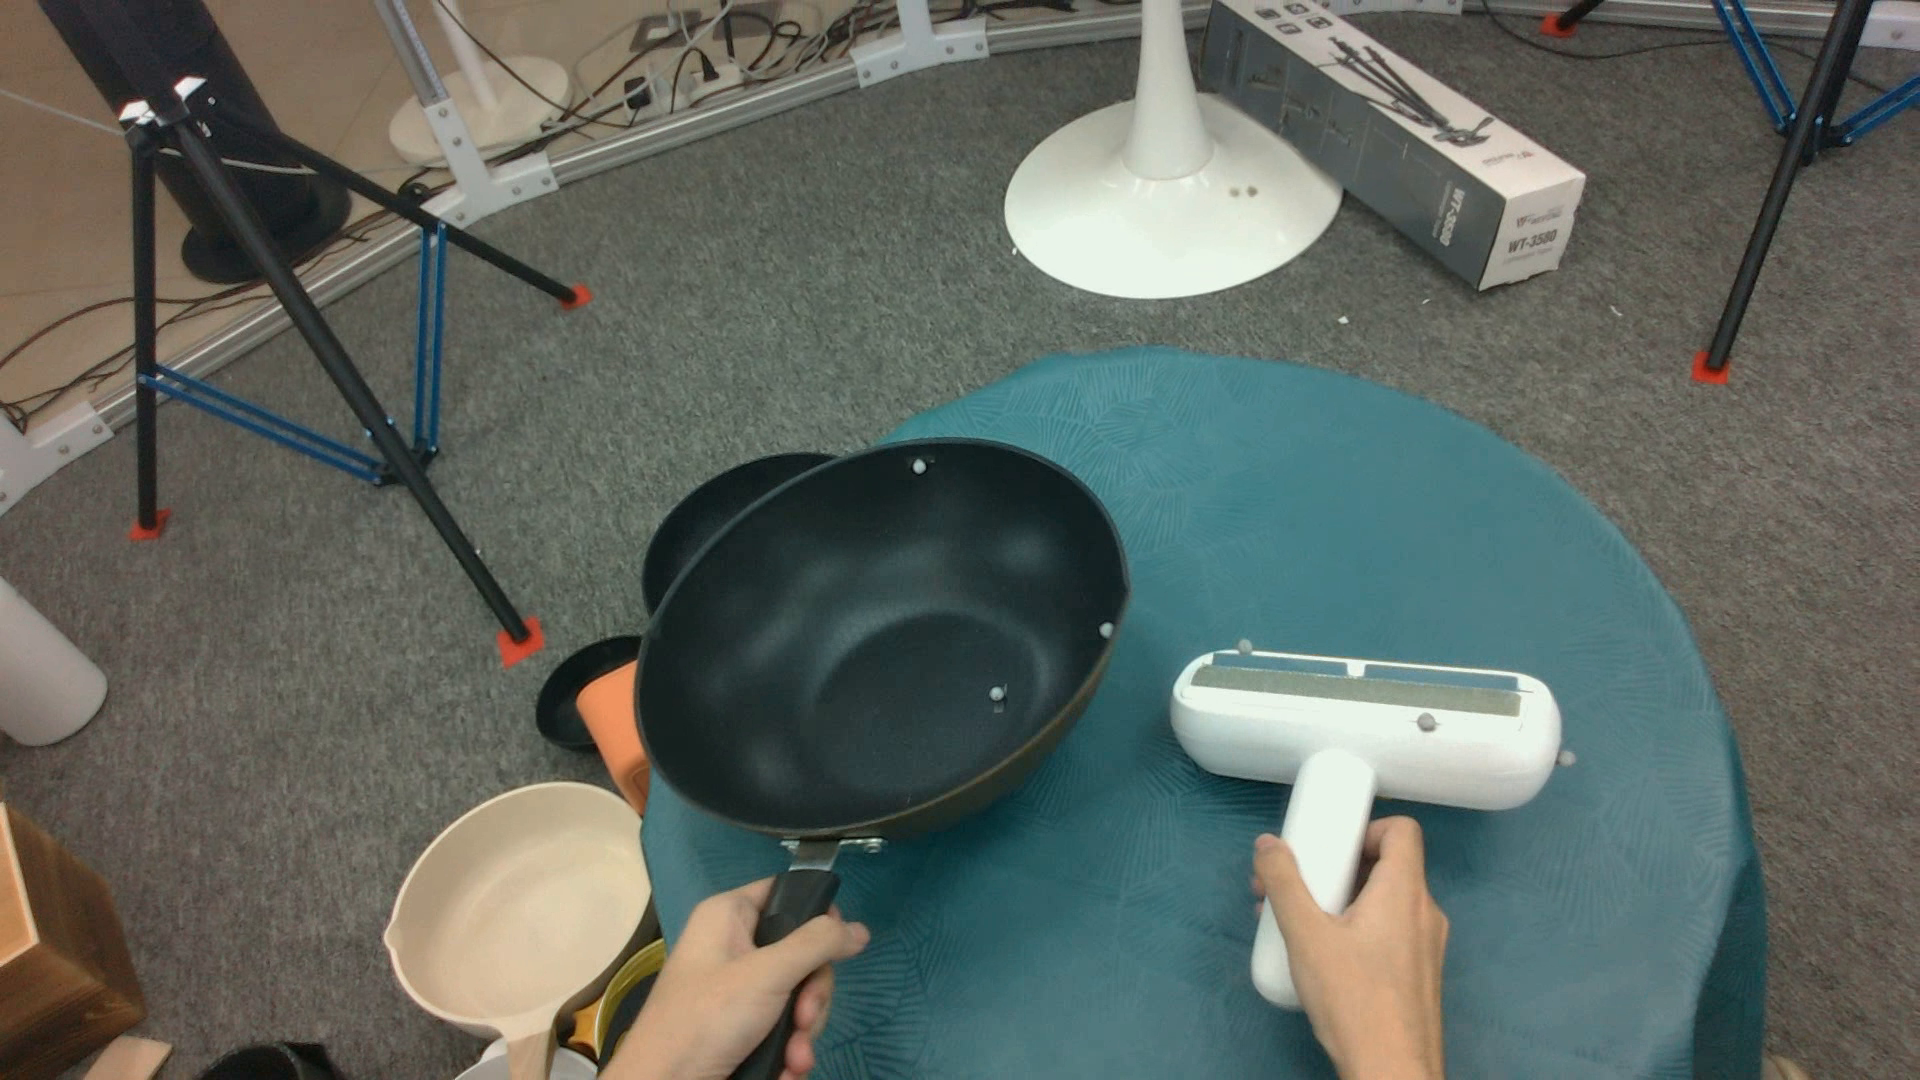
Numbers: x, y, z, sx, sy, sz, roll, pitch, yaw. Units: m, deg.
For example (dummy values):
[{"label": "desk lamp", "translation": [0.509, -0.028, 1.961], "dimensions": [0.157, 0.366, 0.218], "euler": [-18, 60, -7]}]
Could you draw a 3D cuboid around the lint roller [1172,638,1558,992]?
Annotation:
[{"label": "lint roller", "translation": [0.176, 0.128, 0.673], "dimensions": [0.192, 0.074, 0.193], "euler": [8, 40, 31]}]

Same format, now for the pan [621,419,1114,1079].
[{"label": "pan", "translation": [-0.059, 0.124, 0.709], "dimensions": [0.287, 0.086, 0.465], "euler": [-7, 44, 20]}]
